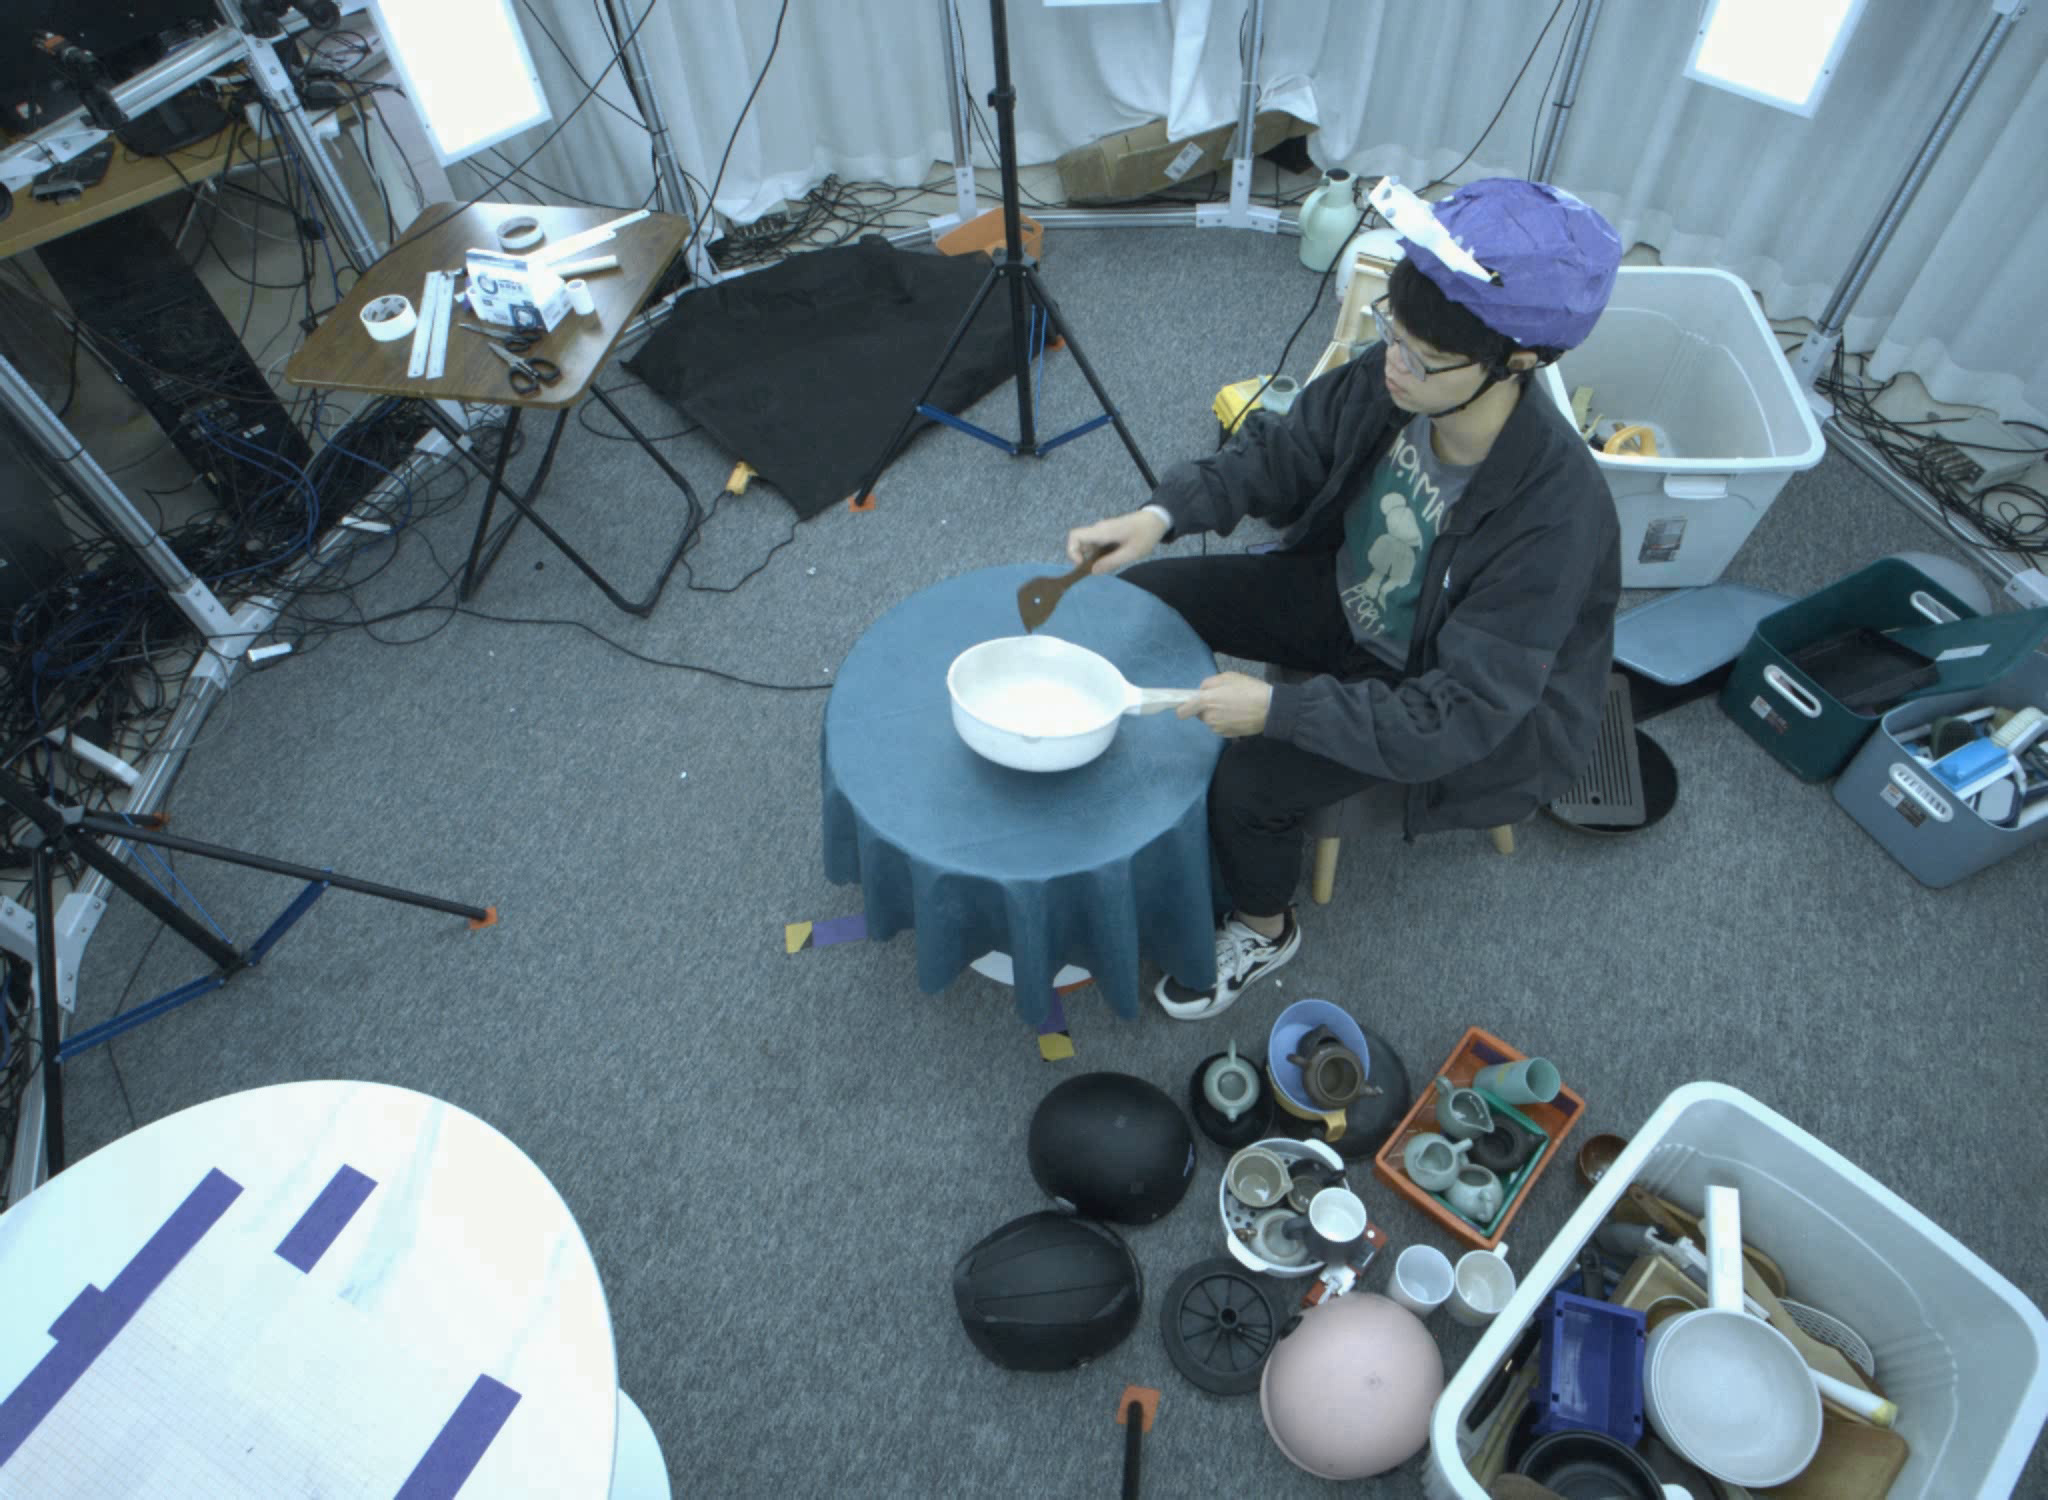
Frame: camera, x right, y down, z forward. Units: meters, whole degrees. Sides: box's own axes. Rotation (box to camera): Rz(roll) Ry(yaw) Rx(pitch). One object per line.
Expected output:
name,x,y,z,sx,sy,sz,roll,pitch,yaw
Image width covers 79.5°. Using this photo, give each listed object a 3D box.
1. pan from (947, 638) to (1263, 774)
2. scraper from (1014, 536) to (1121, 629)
pan,0.108,-0.053,1.715,0.436,0.102,0.261,7,35,-2
scraper,0.064,-0.249,1.748,0.213,0.077,0.010,-36,36,-29
